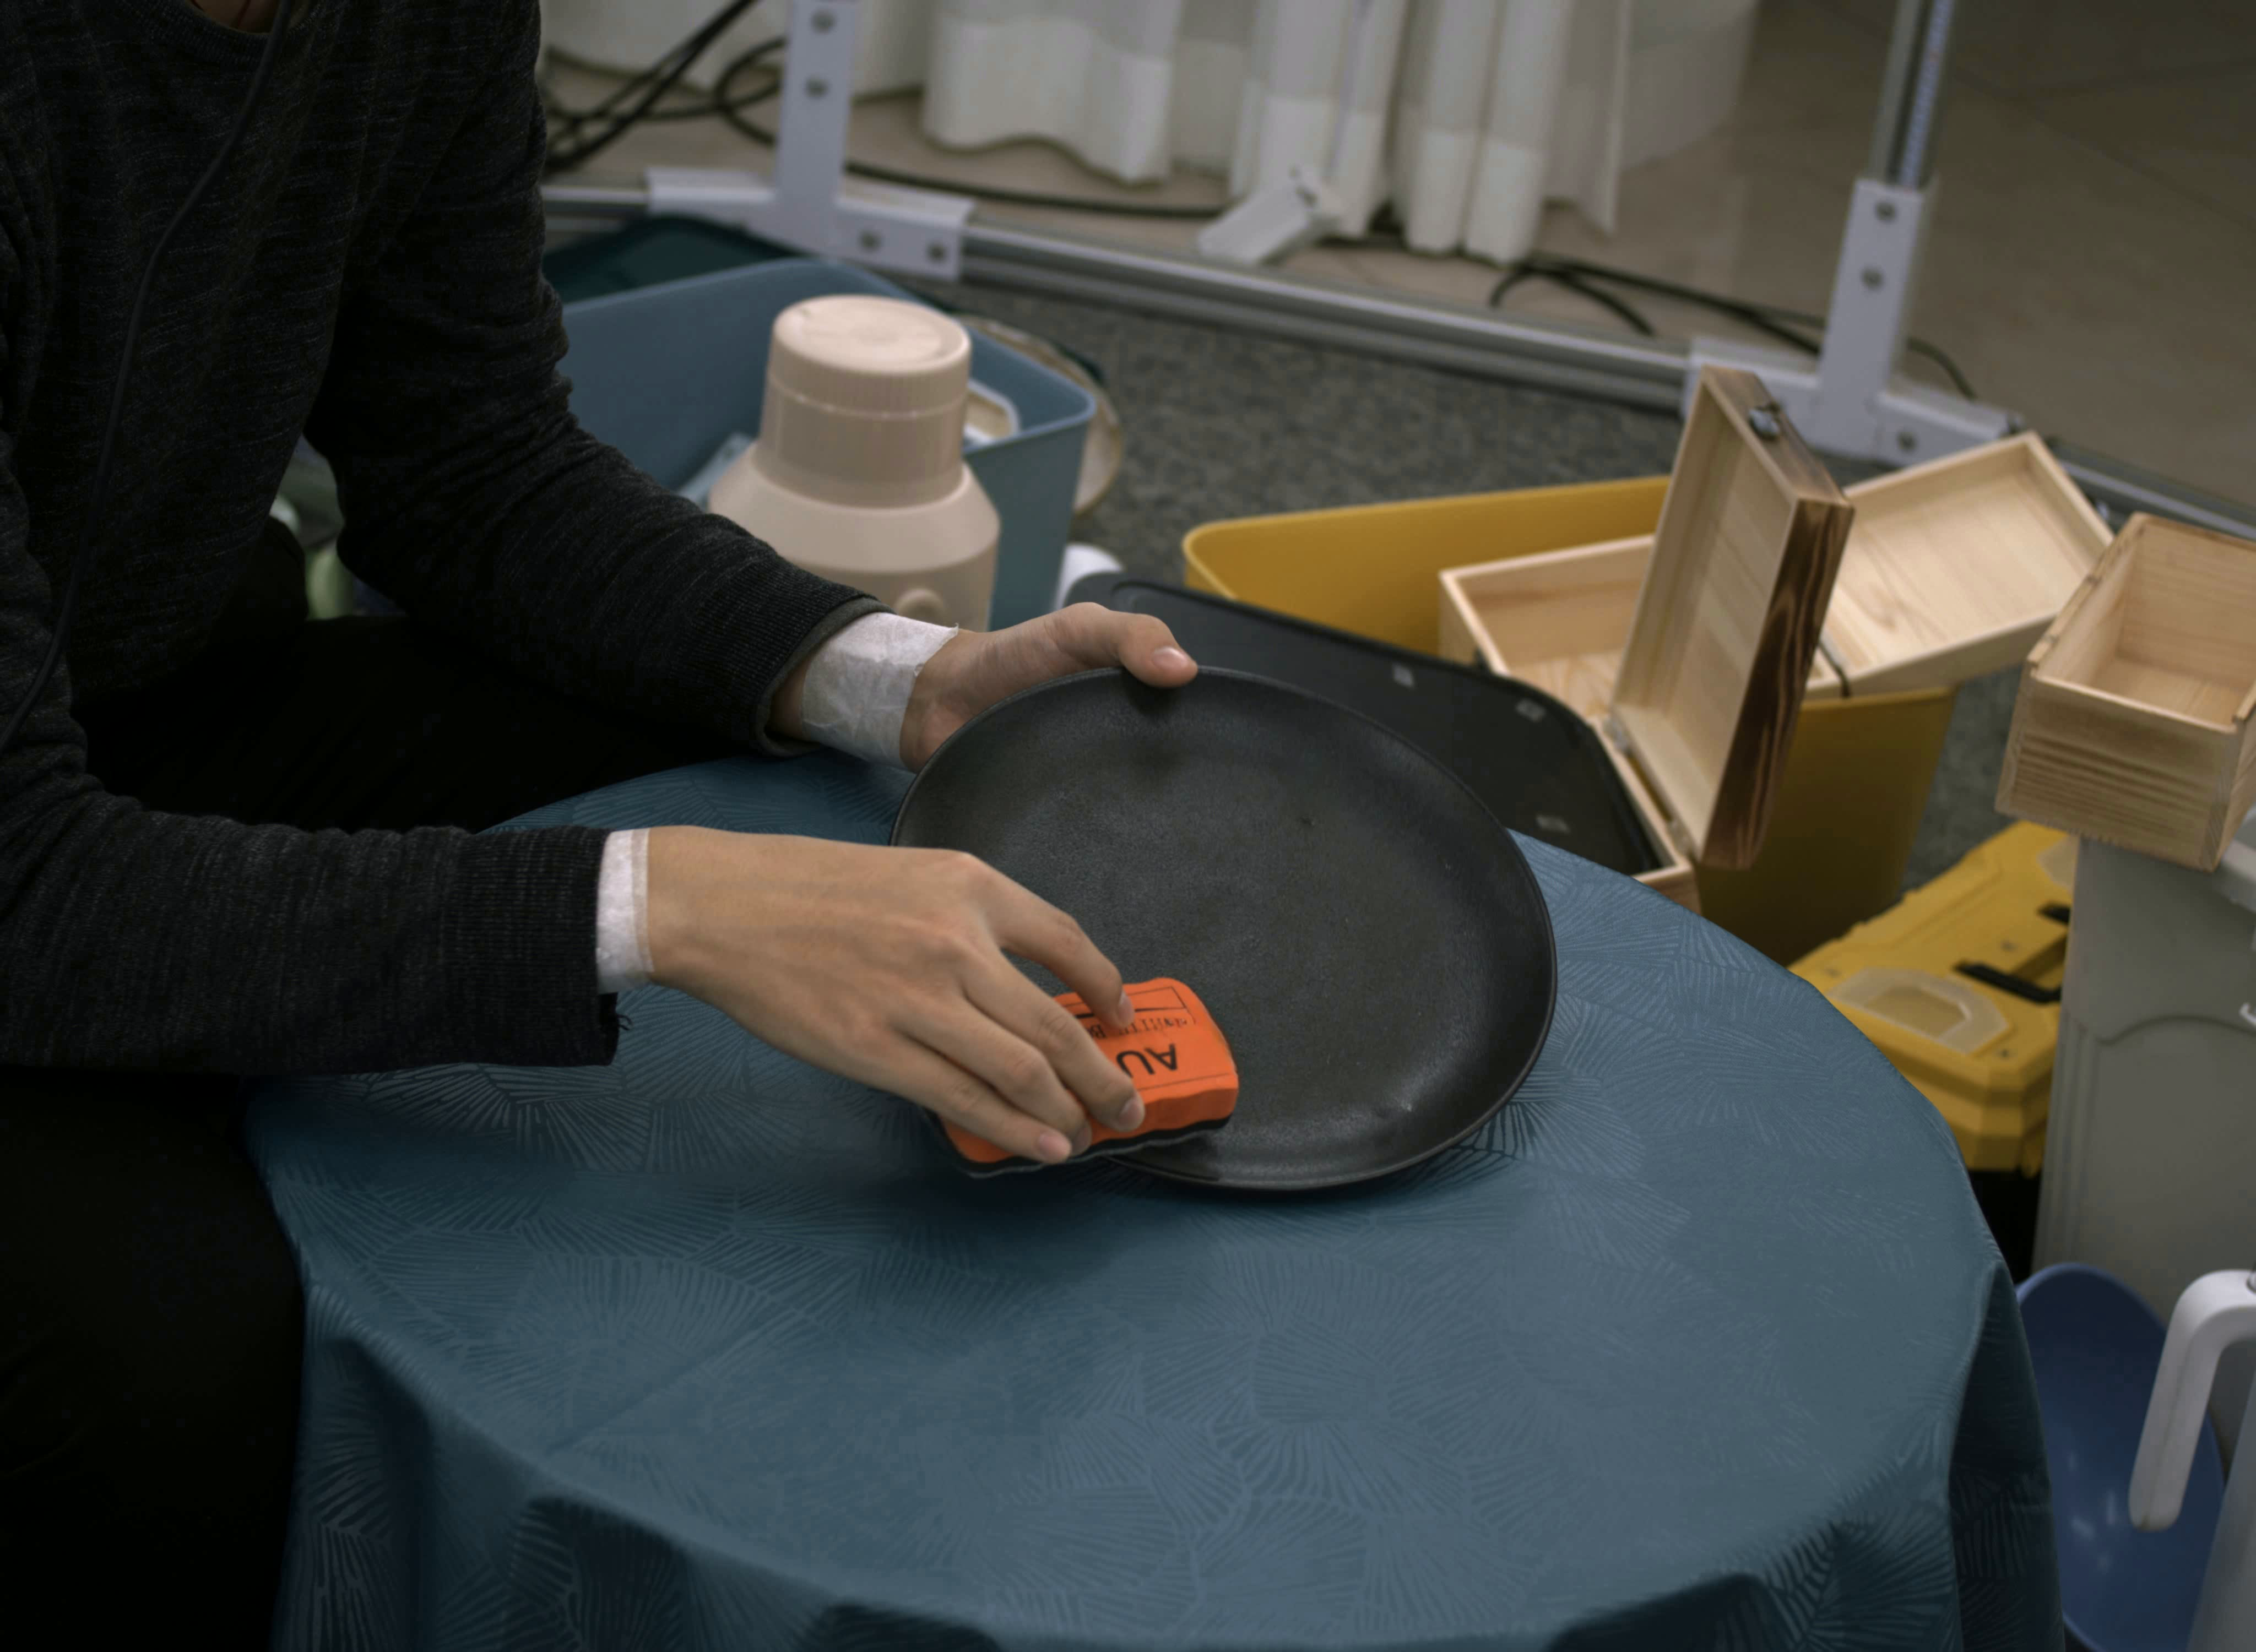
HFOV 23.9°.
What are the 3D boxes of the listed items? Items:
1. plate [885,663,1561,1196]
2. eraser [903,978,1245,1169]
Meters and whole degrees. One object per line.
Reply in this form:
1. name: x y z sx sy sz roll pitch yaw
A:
1. plate: 0.033 0.038 1.883 0.243 0.023 0.246 6 47 -7
2. eraser: -0.018 0.083 1.802 0.107 0.023 0.059 -8 41 -27
